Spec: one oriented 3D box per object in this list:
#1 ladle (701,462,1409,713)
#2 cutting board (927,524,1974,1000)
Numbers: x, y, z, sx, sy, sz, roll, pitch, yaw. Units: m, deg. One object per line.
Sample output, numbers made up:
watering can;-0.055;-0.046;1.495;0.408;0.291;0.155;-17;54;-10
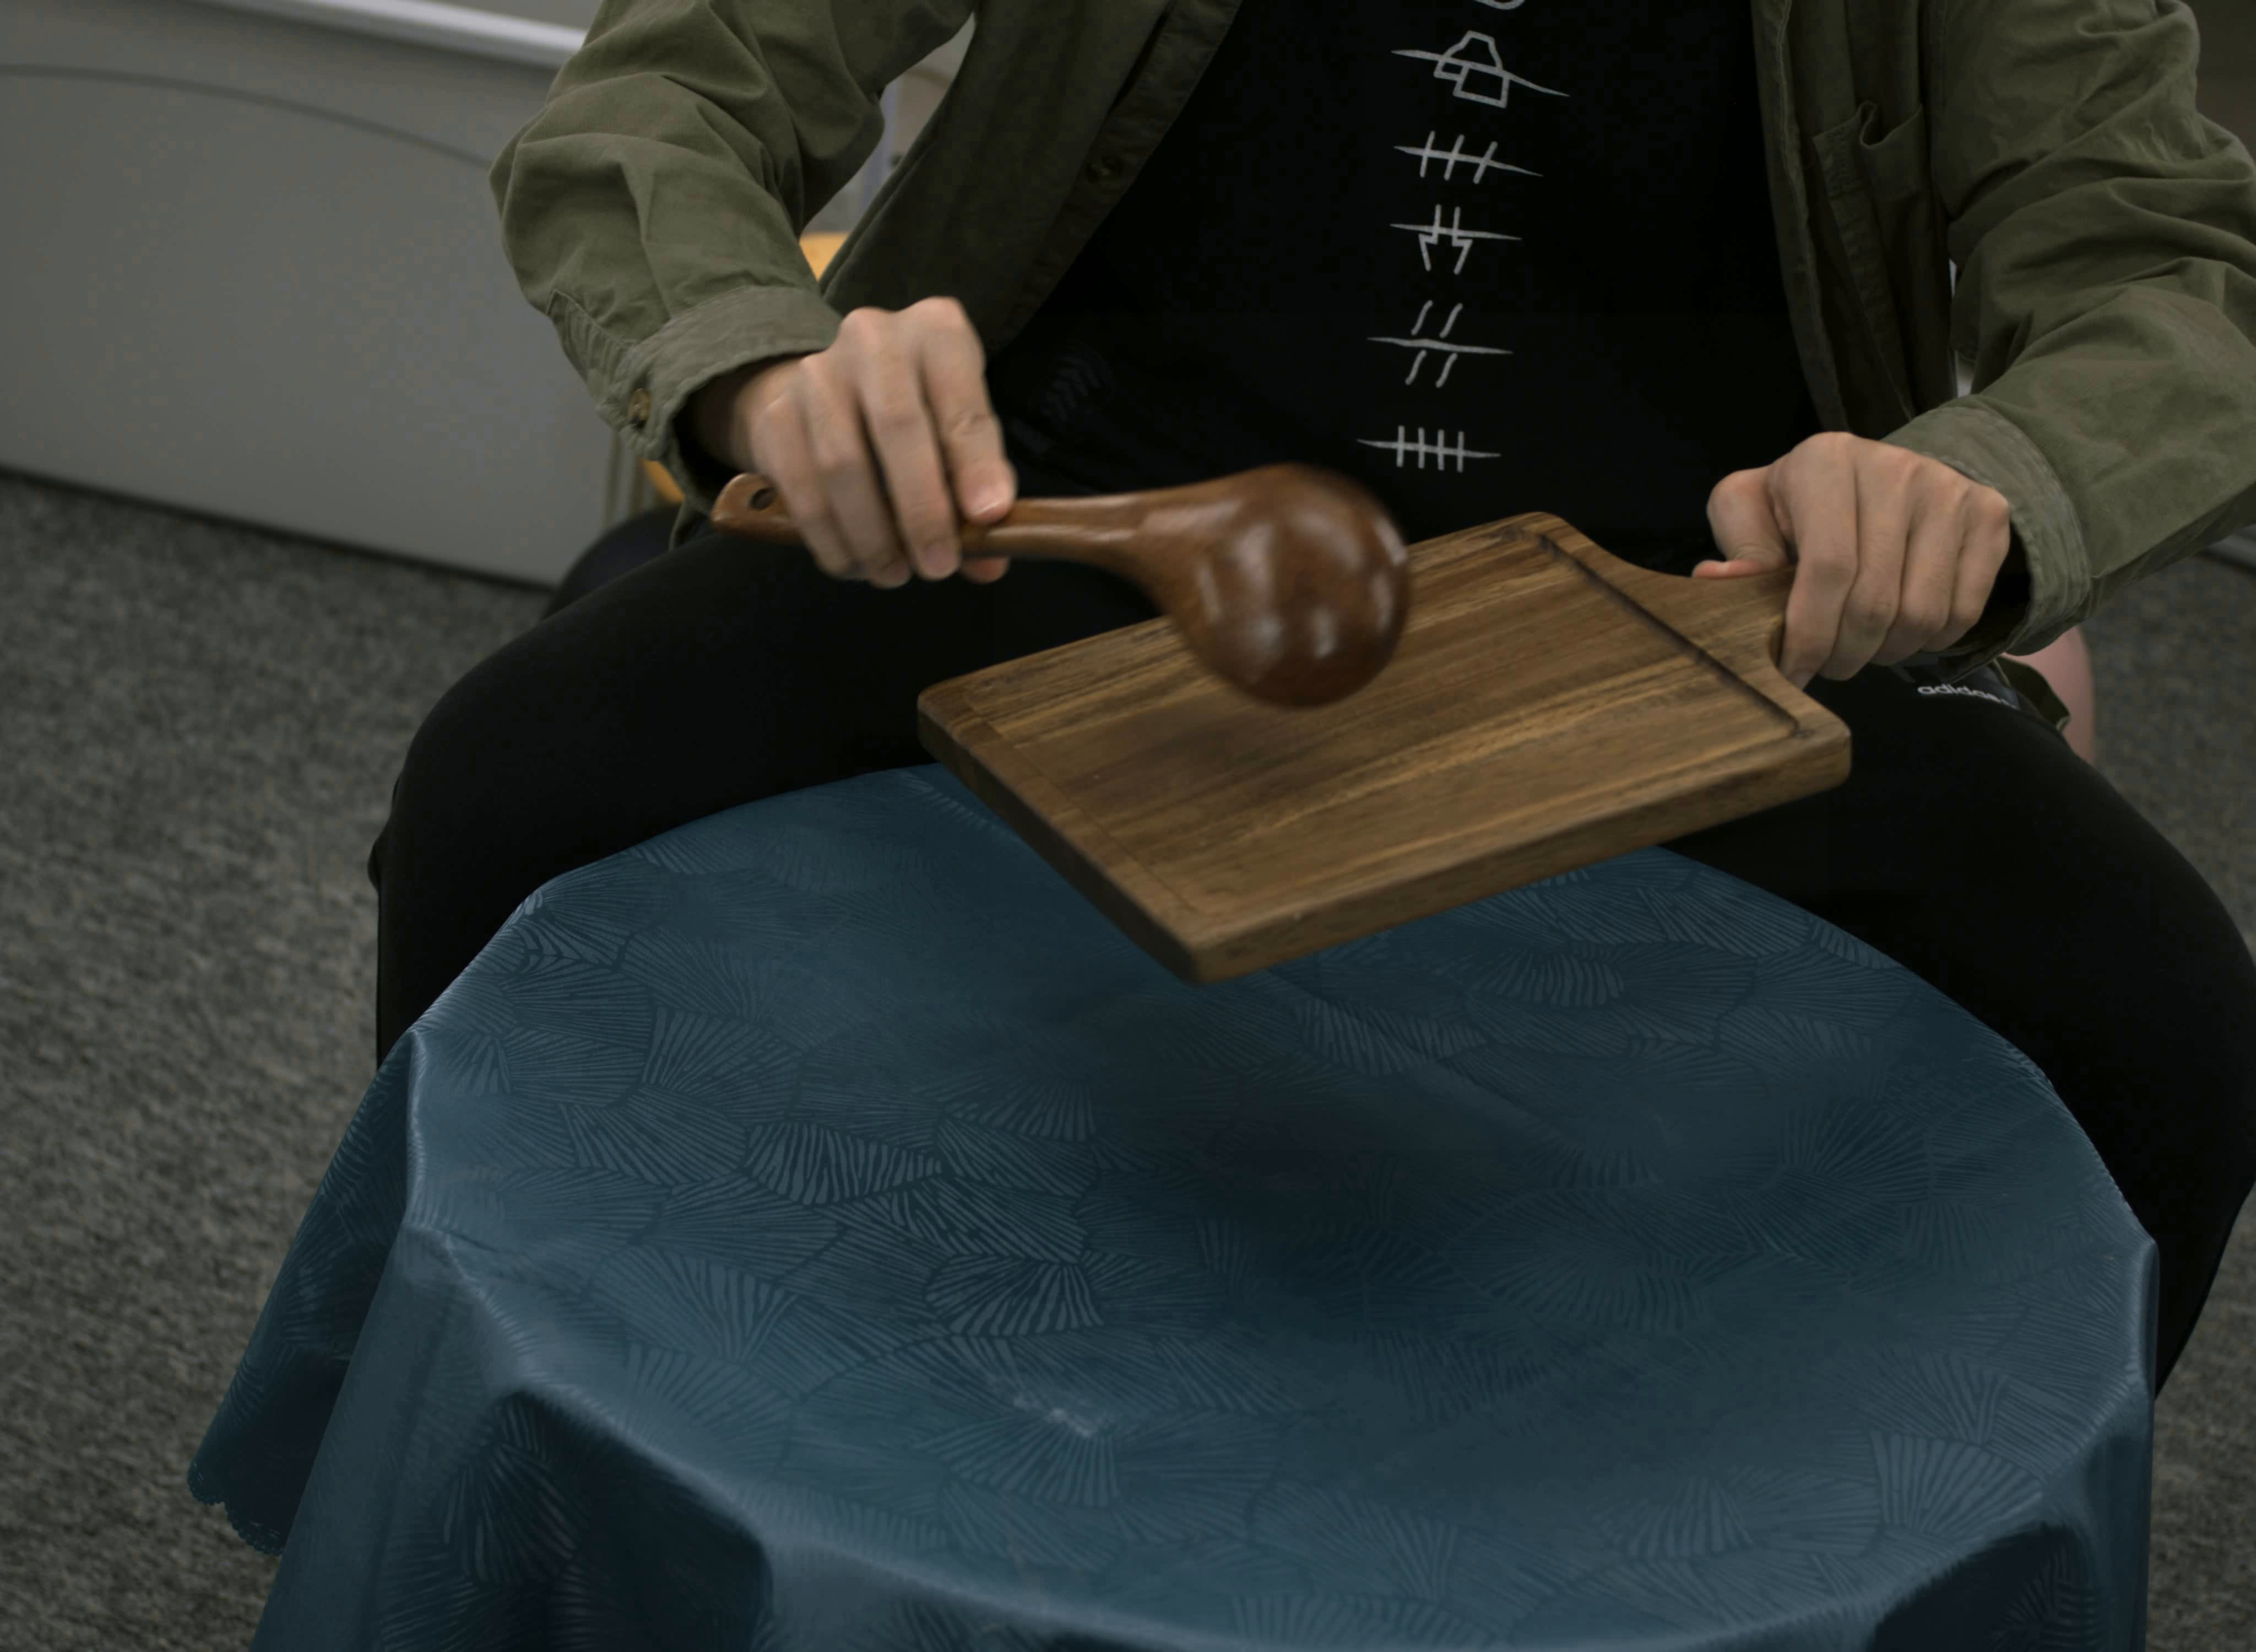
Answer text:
ladle;-0.025;-0.087;1.773;0.275;0.076;0.082;6;57;44
cutting board;0.129;-0.039;1.756;0.350;0.023;0.203;-16;31;-21
